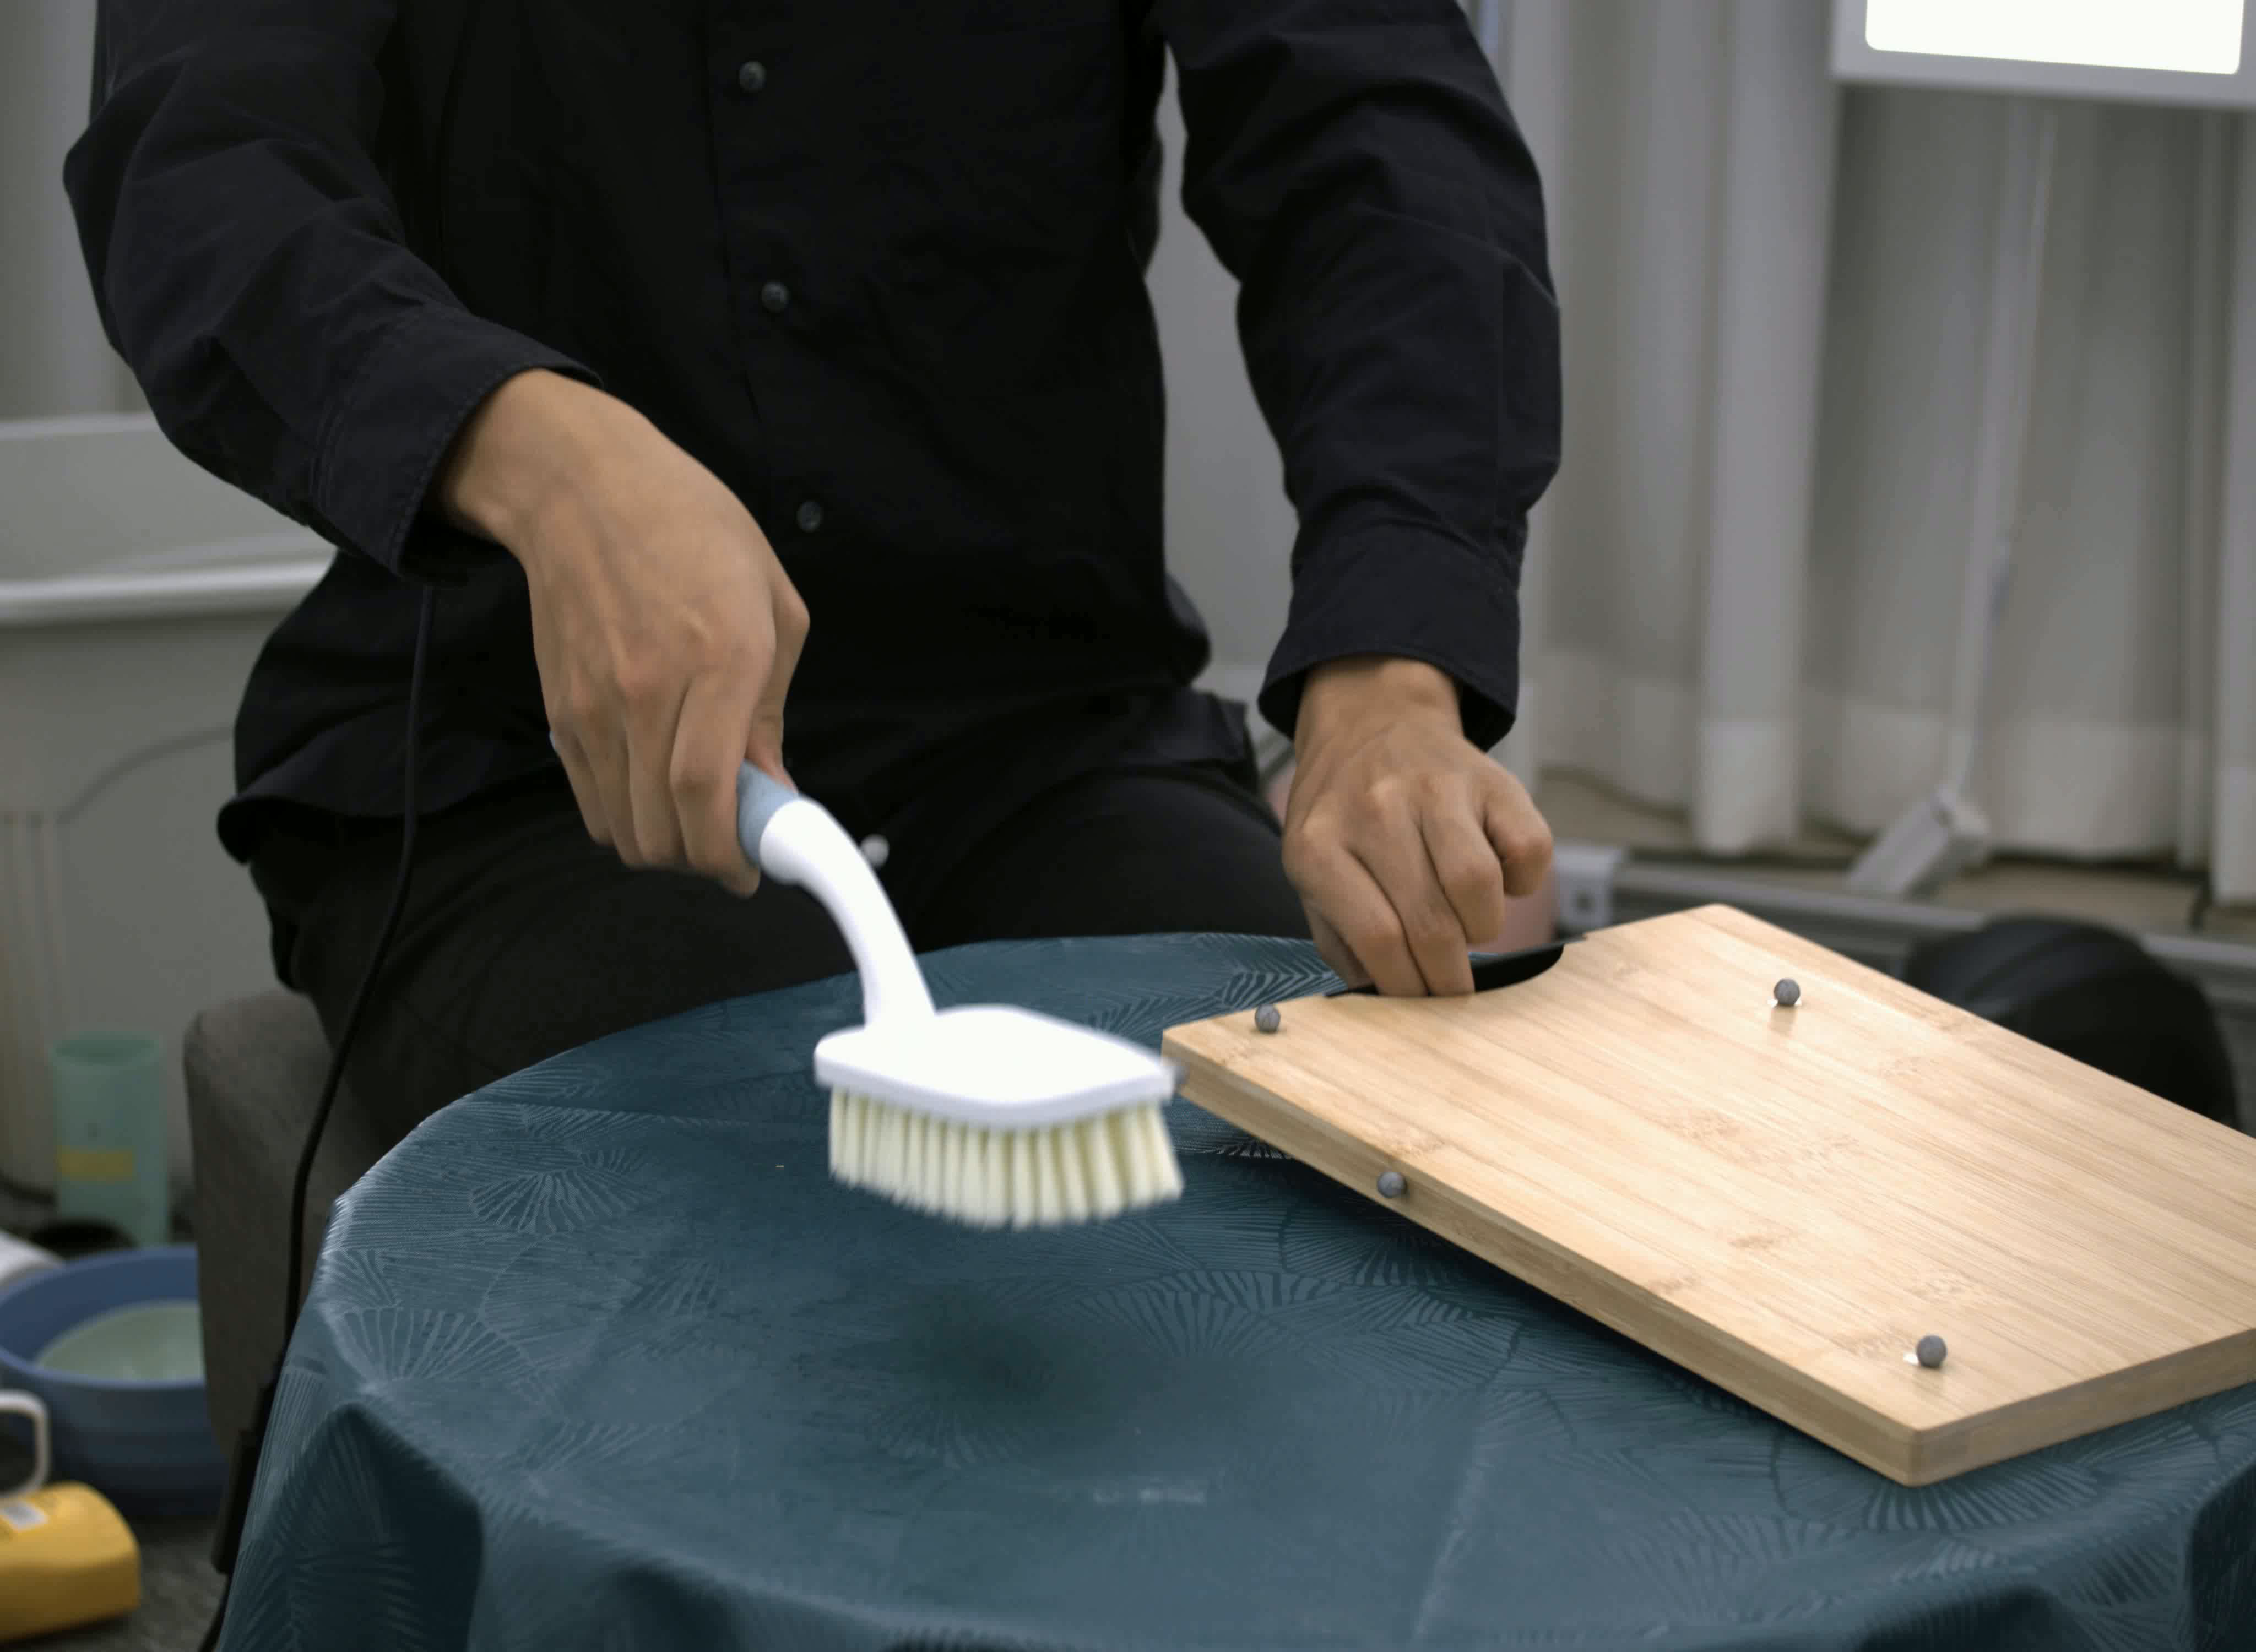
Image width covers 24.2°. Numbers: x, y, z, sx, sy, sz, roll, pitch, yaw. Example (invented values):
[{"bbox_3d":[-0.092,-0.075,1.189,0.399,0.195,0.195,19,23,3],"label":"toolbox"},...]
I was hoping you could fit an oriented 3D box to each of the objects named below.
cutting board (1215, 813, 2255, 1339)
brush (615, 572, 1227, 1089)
[{"bbox_3d":[0.225,0.070,1.633,0.252,0.024,0.344,-11,23,-38],"label":"cutting board"},{"bbox_3d":[-0.067,0.015,1.571,0.084,0.084,0.321,35,-2,-40],"label":"brush"}]
